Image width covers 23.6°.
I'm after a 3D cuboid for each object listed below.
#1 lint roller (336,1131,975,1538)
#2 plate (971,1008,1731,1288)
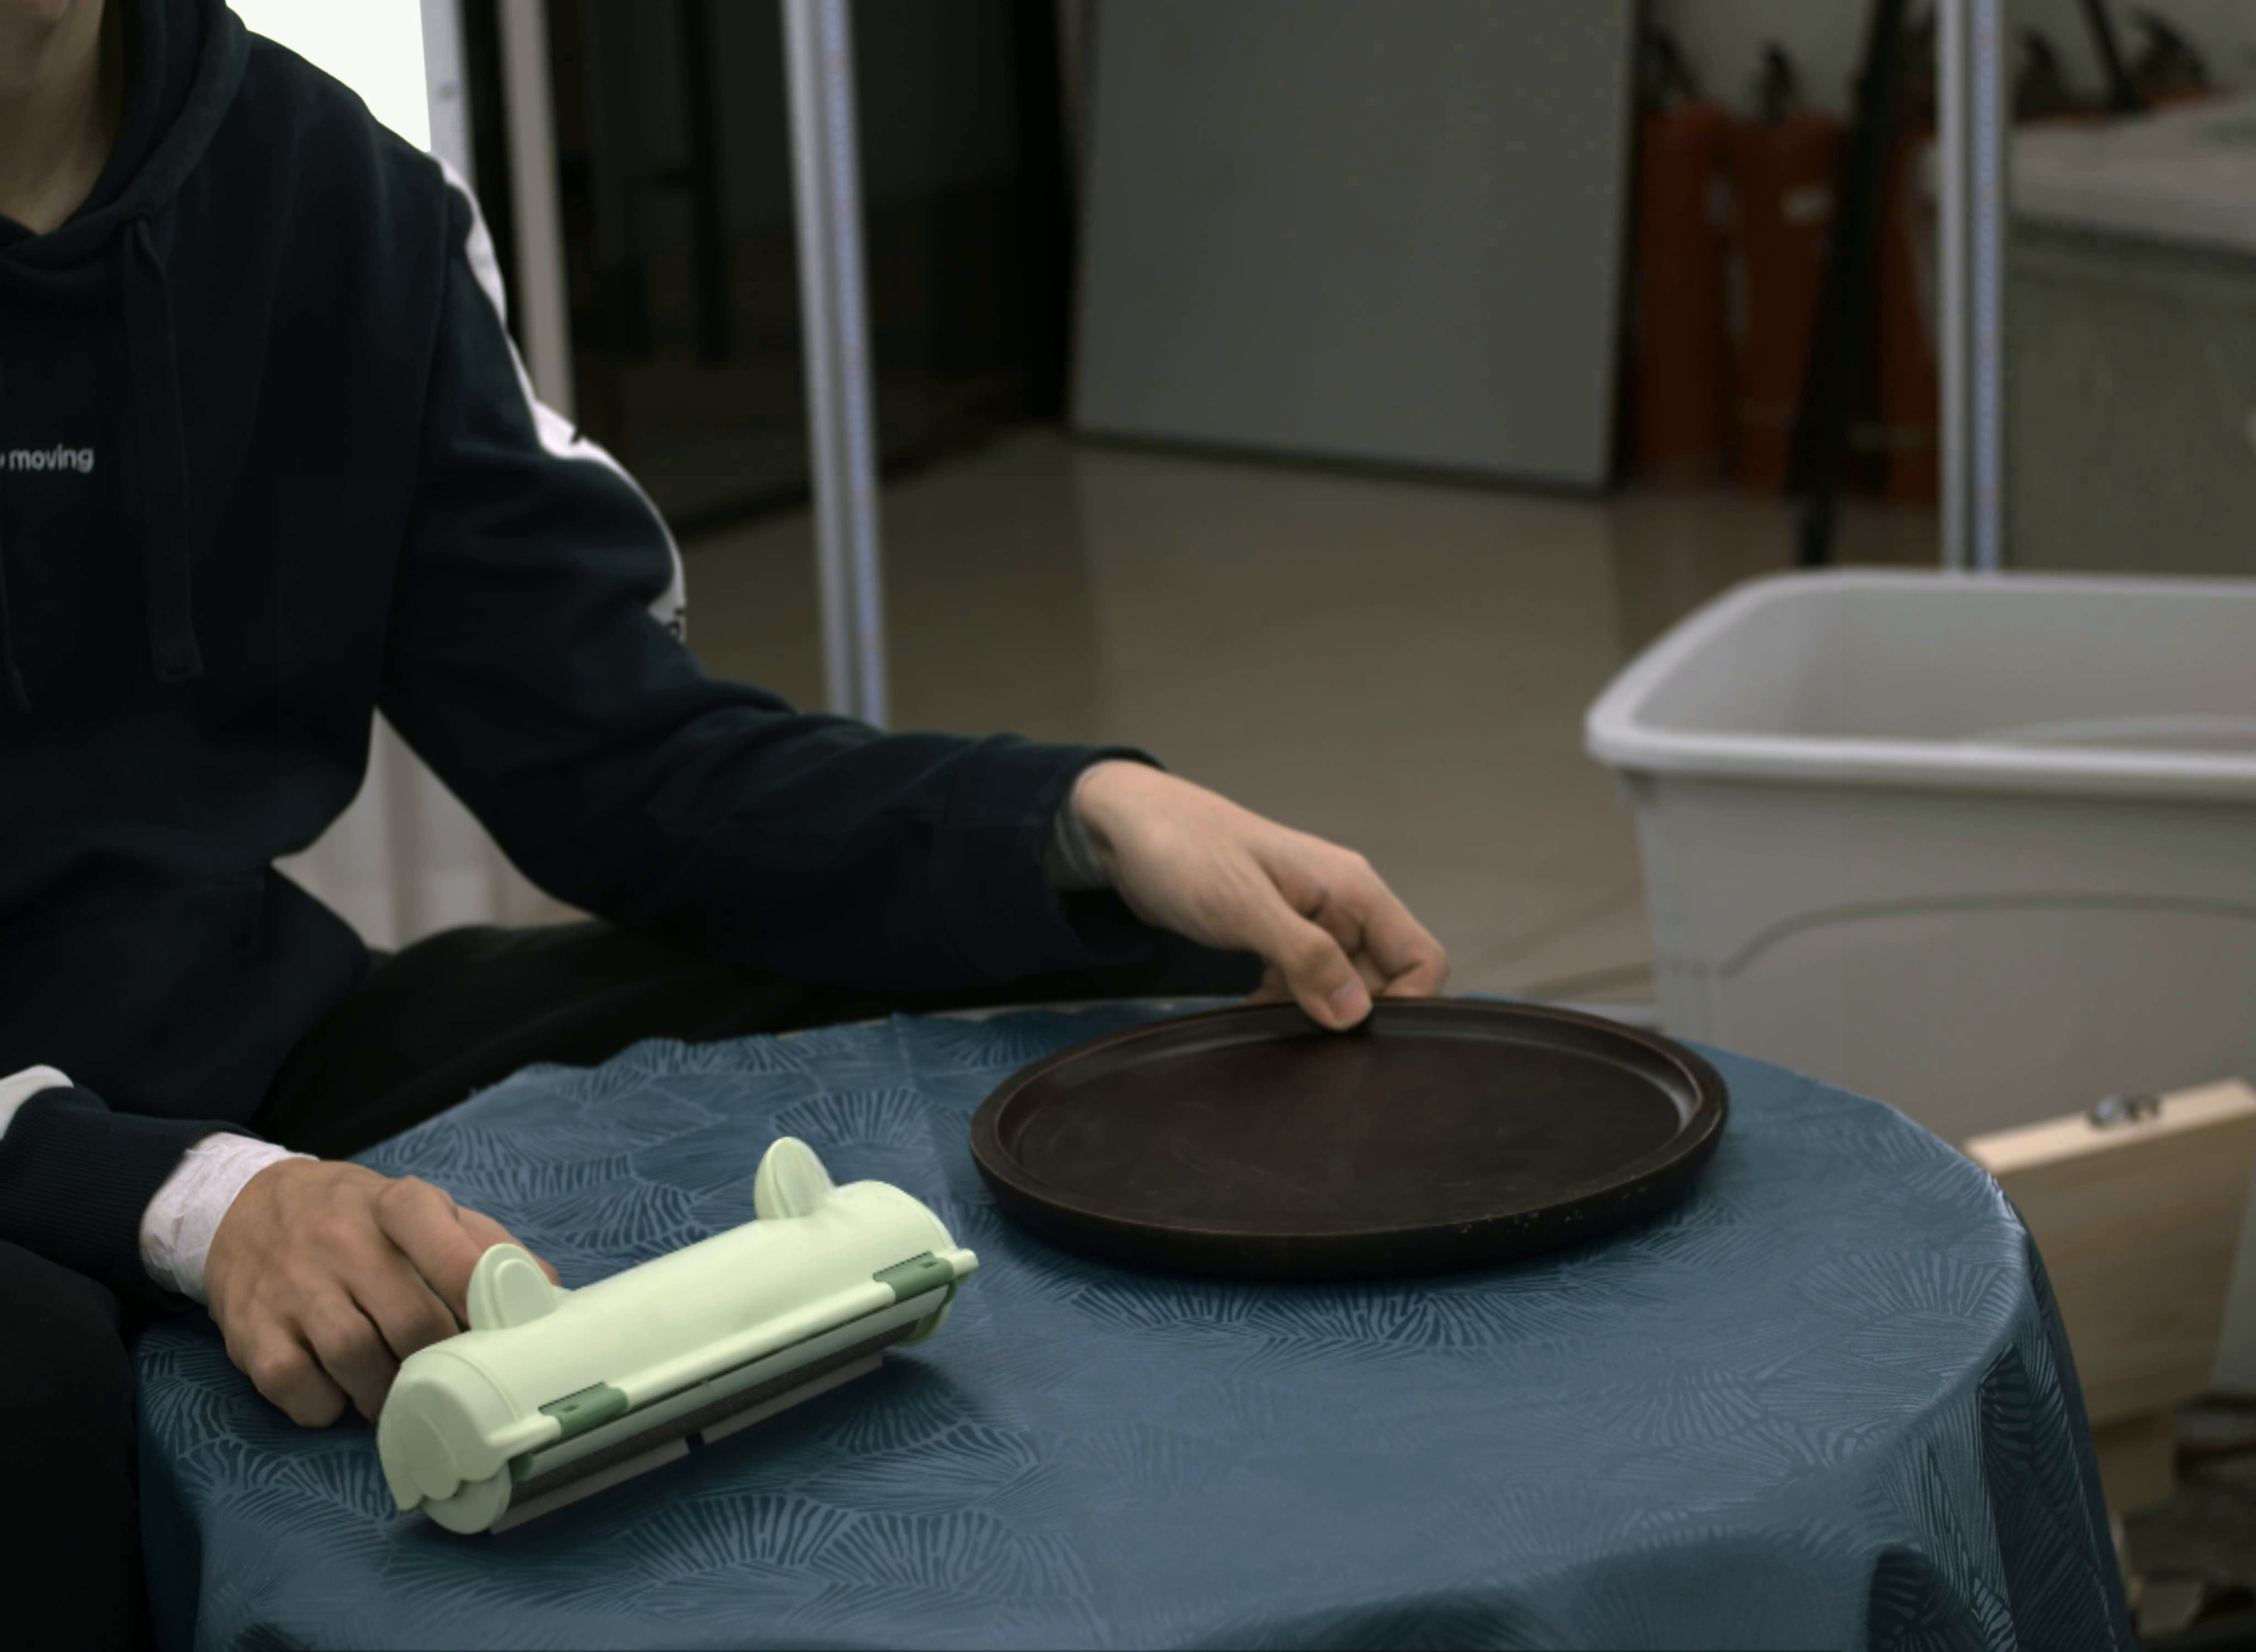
[{"bbox_3d":[-0.172,0.135,1.595,0.185,0.083,0.194,13,22,40],"label":"lint roller"},{"bbox_3d":[0.074,0.103,1.773,0.251,0.029,0.255,-4,15,0],"label":"plate"}]
